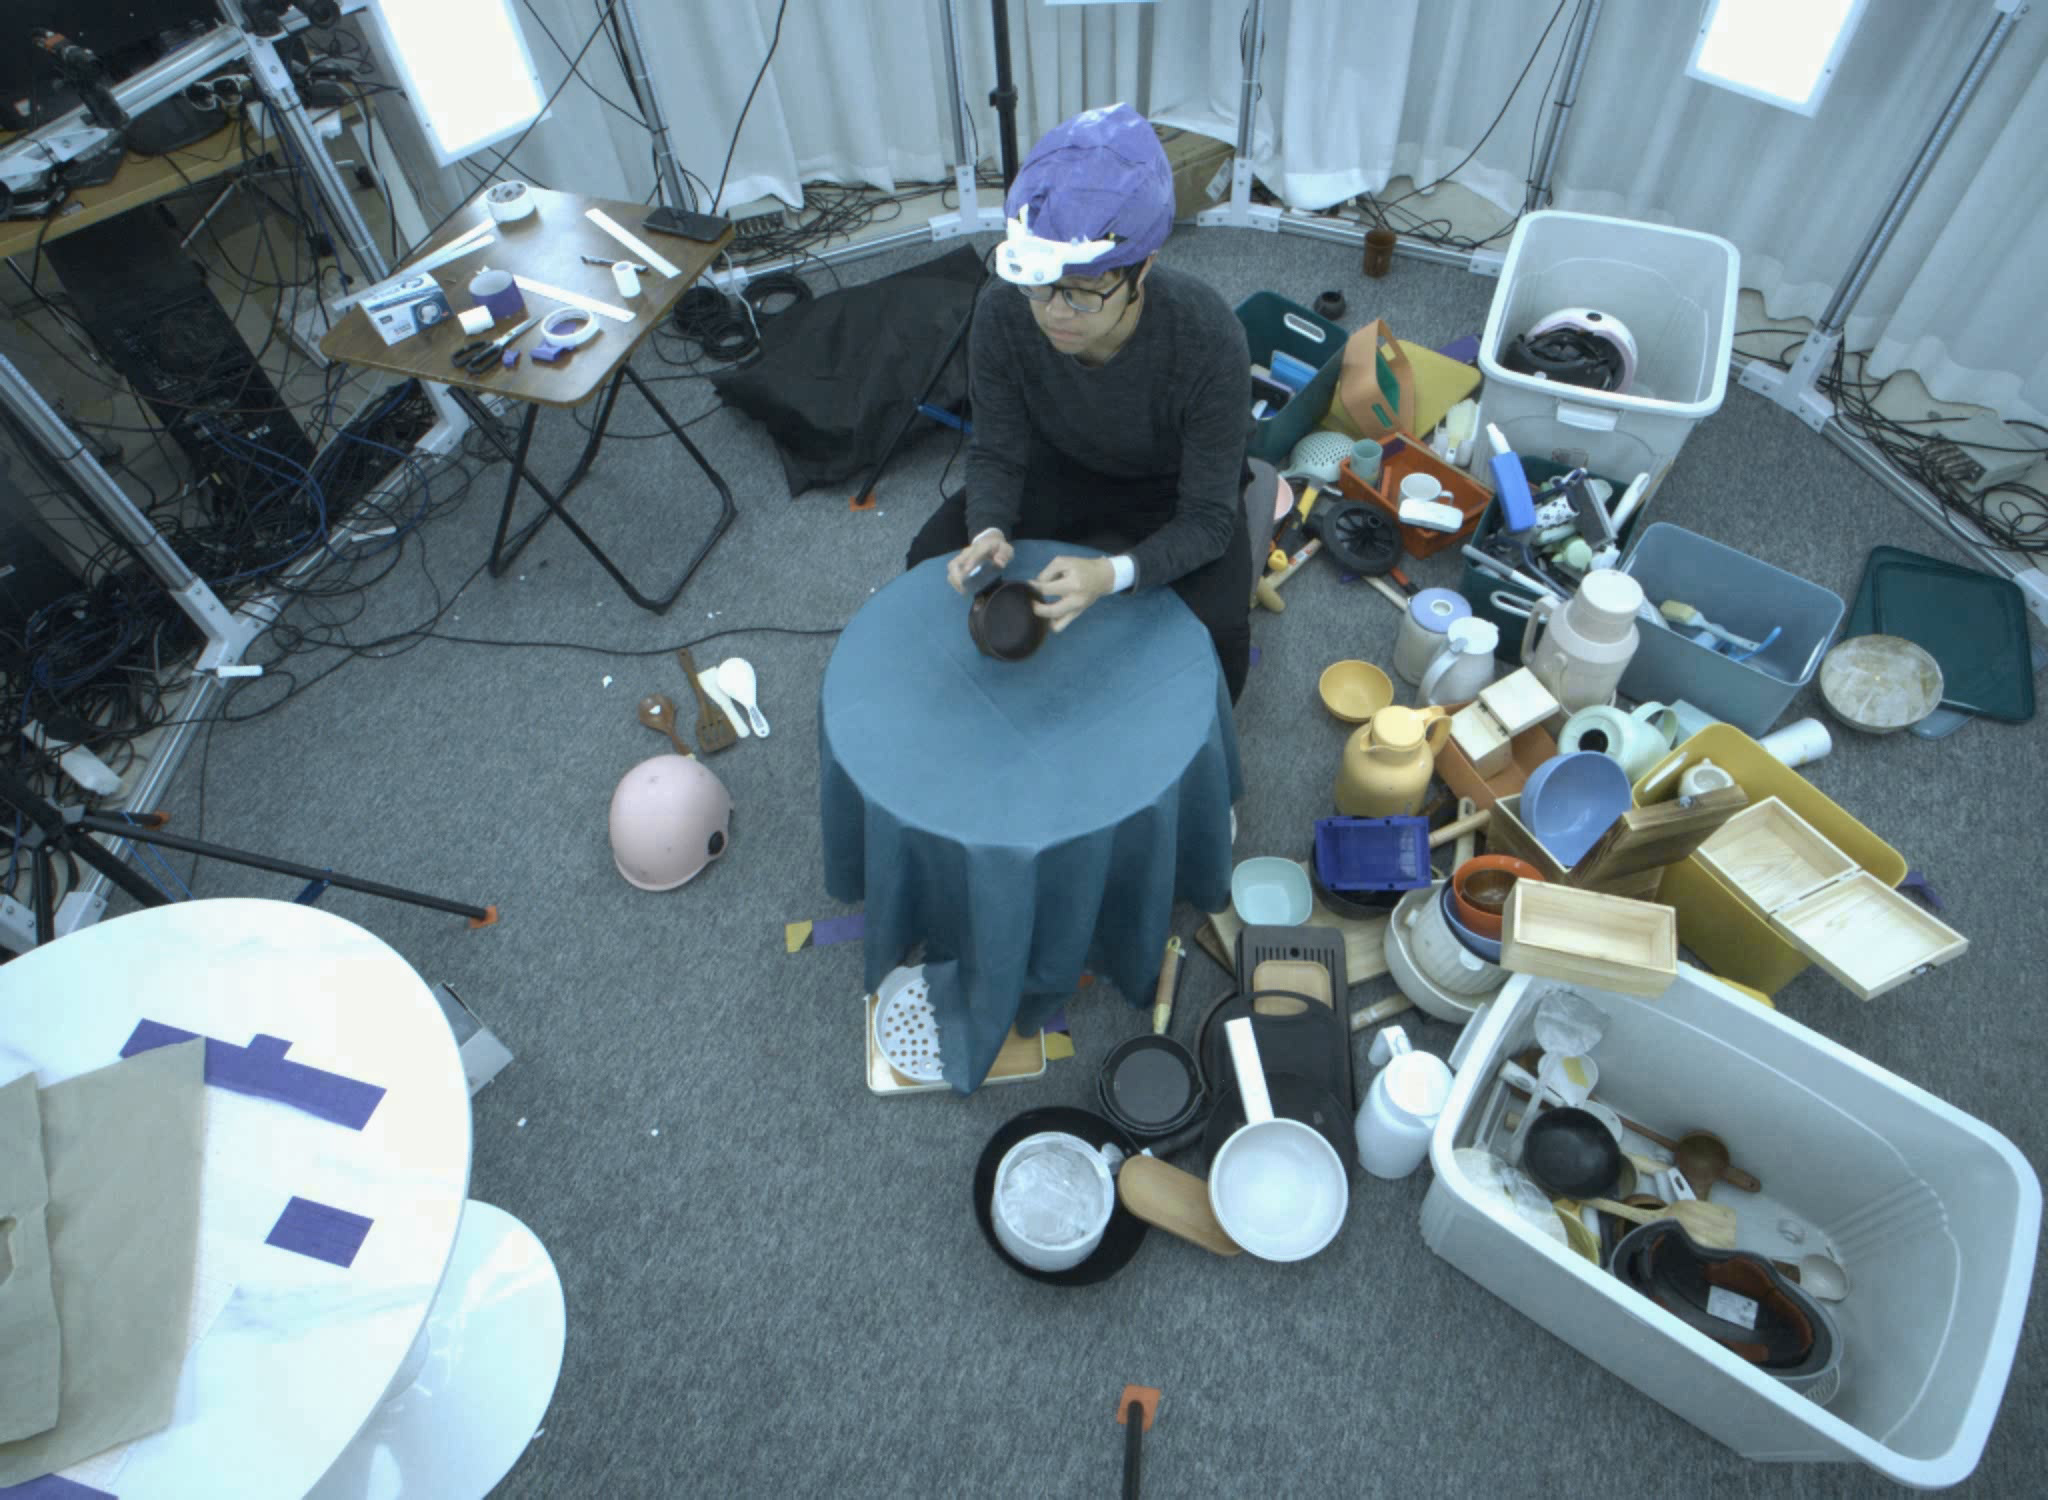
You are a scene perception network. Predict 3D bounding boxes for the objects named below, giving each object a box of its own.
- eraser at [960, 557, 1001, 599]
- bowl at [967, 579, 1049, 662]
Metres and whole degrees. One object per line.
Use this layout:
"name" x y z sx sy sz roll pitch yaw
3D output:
"eraser" -0.063 -0.246 1.743 0.053 0.031 0.124 -33 14 4
"bowl" -0.030 -0.186 1.755 0.119 0.120 0.068 -40 28 -22
